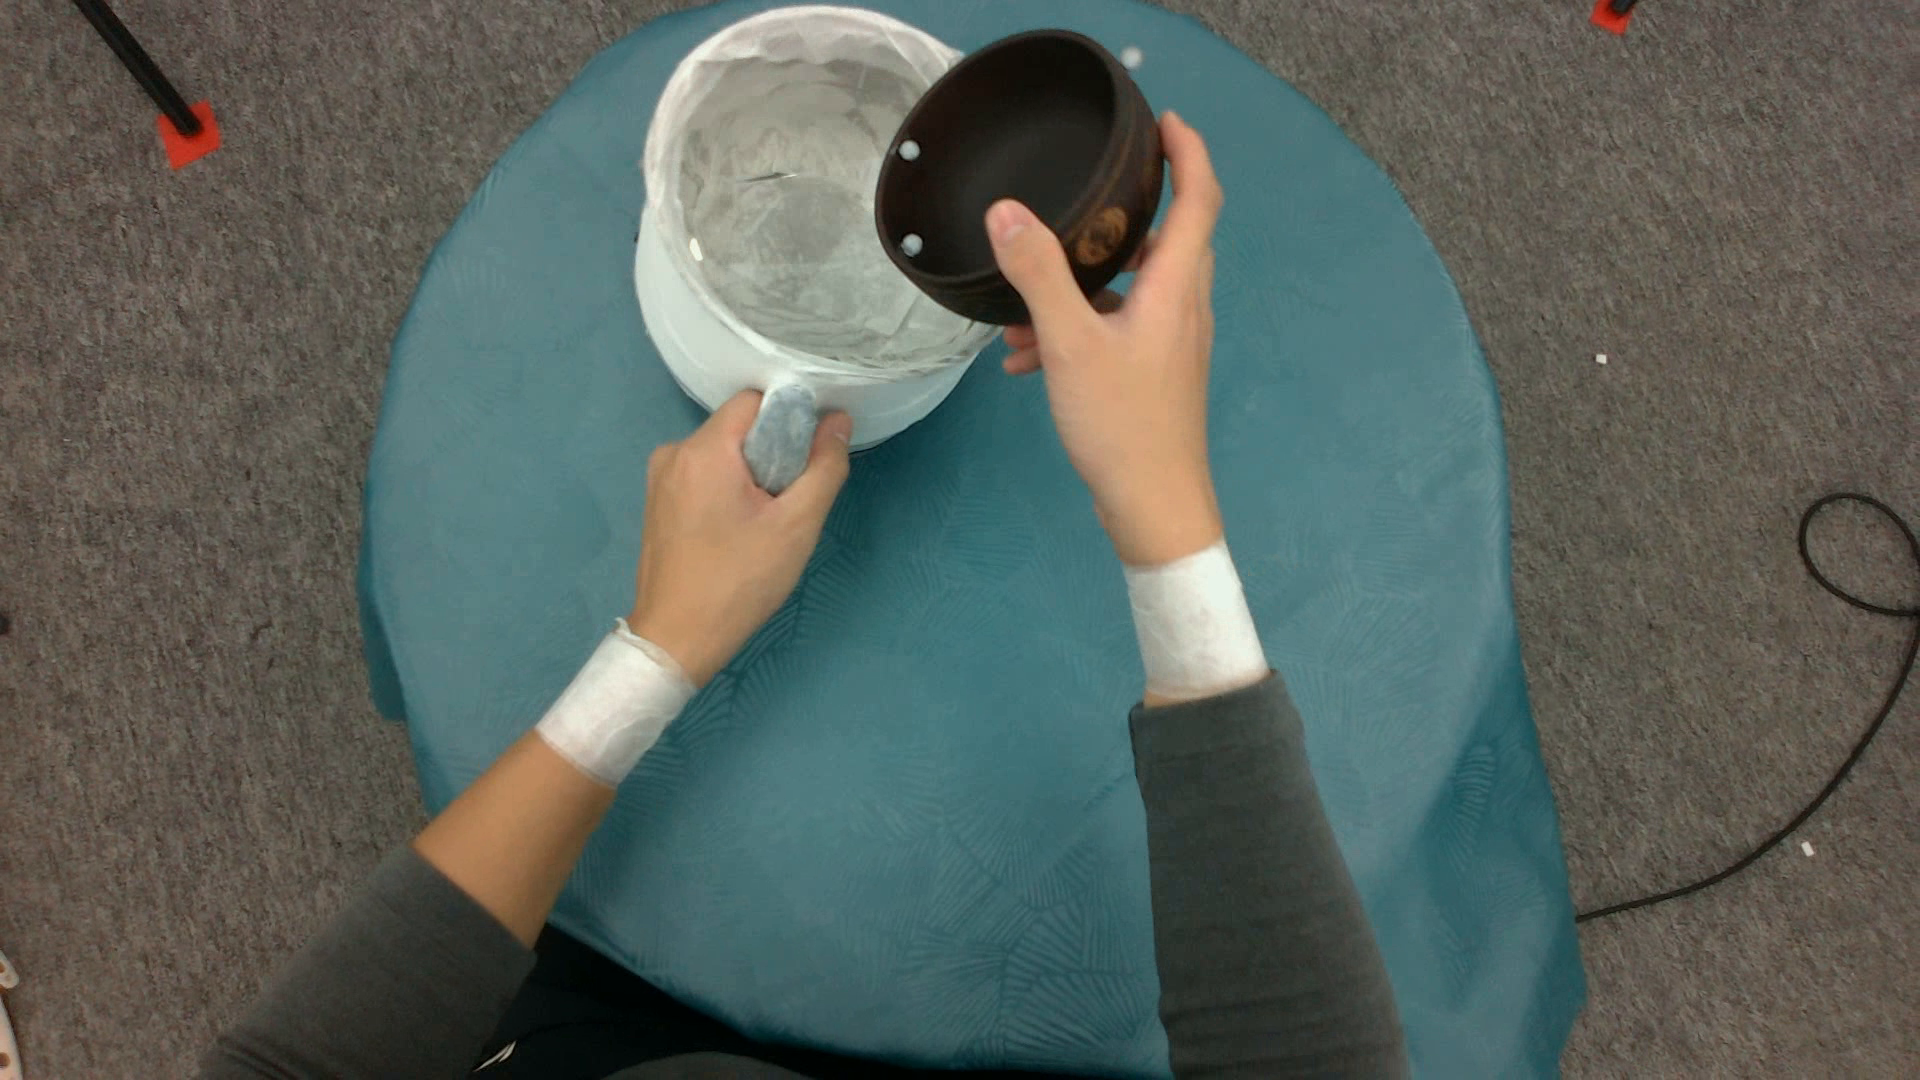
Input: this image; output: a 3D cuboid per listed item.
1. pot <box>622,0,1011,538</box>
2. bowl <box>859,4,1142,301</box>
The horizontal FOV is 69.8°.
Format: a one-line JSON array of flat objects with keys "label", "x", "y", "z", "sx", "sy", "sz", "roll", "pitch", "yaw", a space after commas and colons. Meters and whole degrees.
[{"label": "pot", "x": -0.073, "y": -0.119, "z": 0.653, "sx": 0.179, "sy": 0.136, "sz": 0.234, "roll": 16, "pitch": 72, "yaw": -14}, {"label": "bowl", "x": 0.024, "y": -0.153, "z": 0.572, "sx": 0.117, "sy": 0.070, "sz": 0.118, "roll": -15, "pitch": 63, "yaw": 33}]
